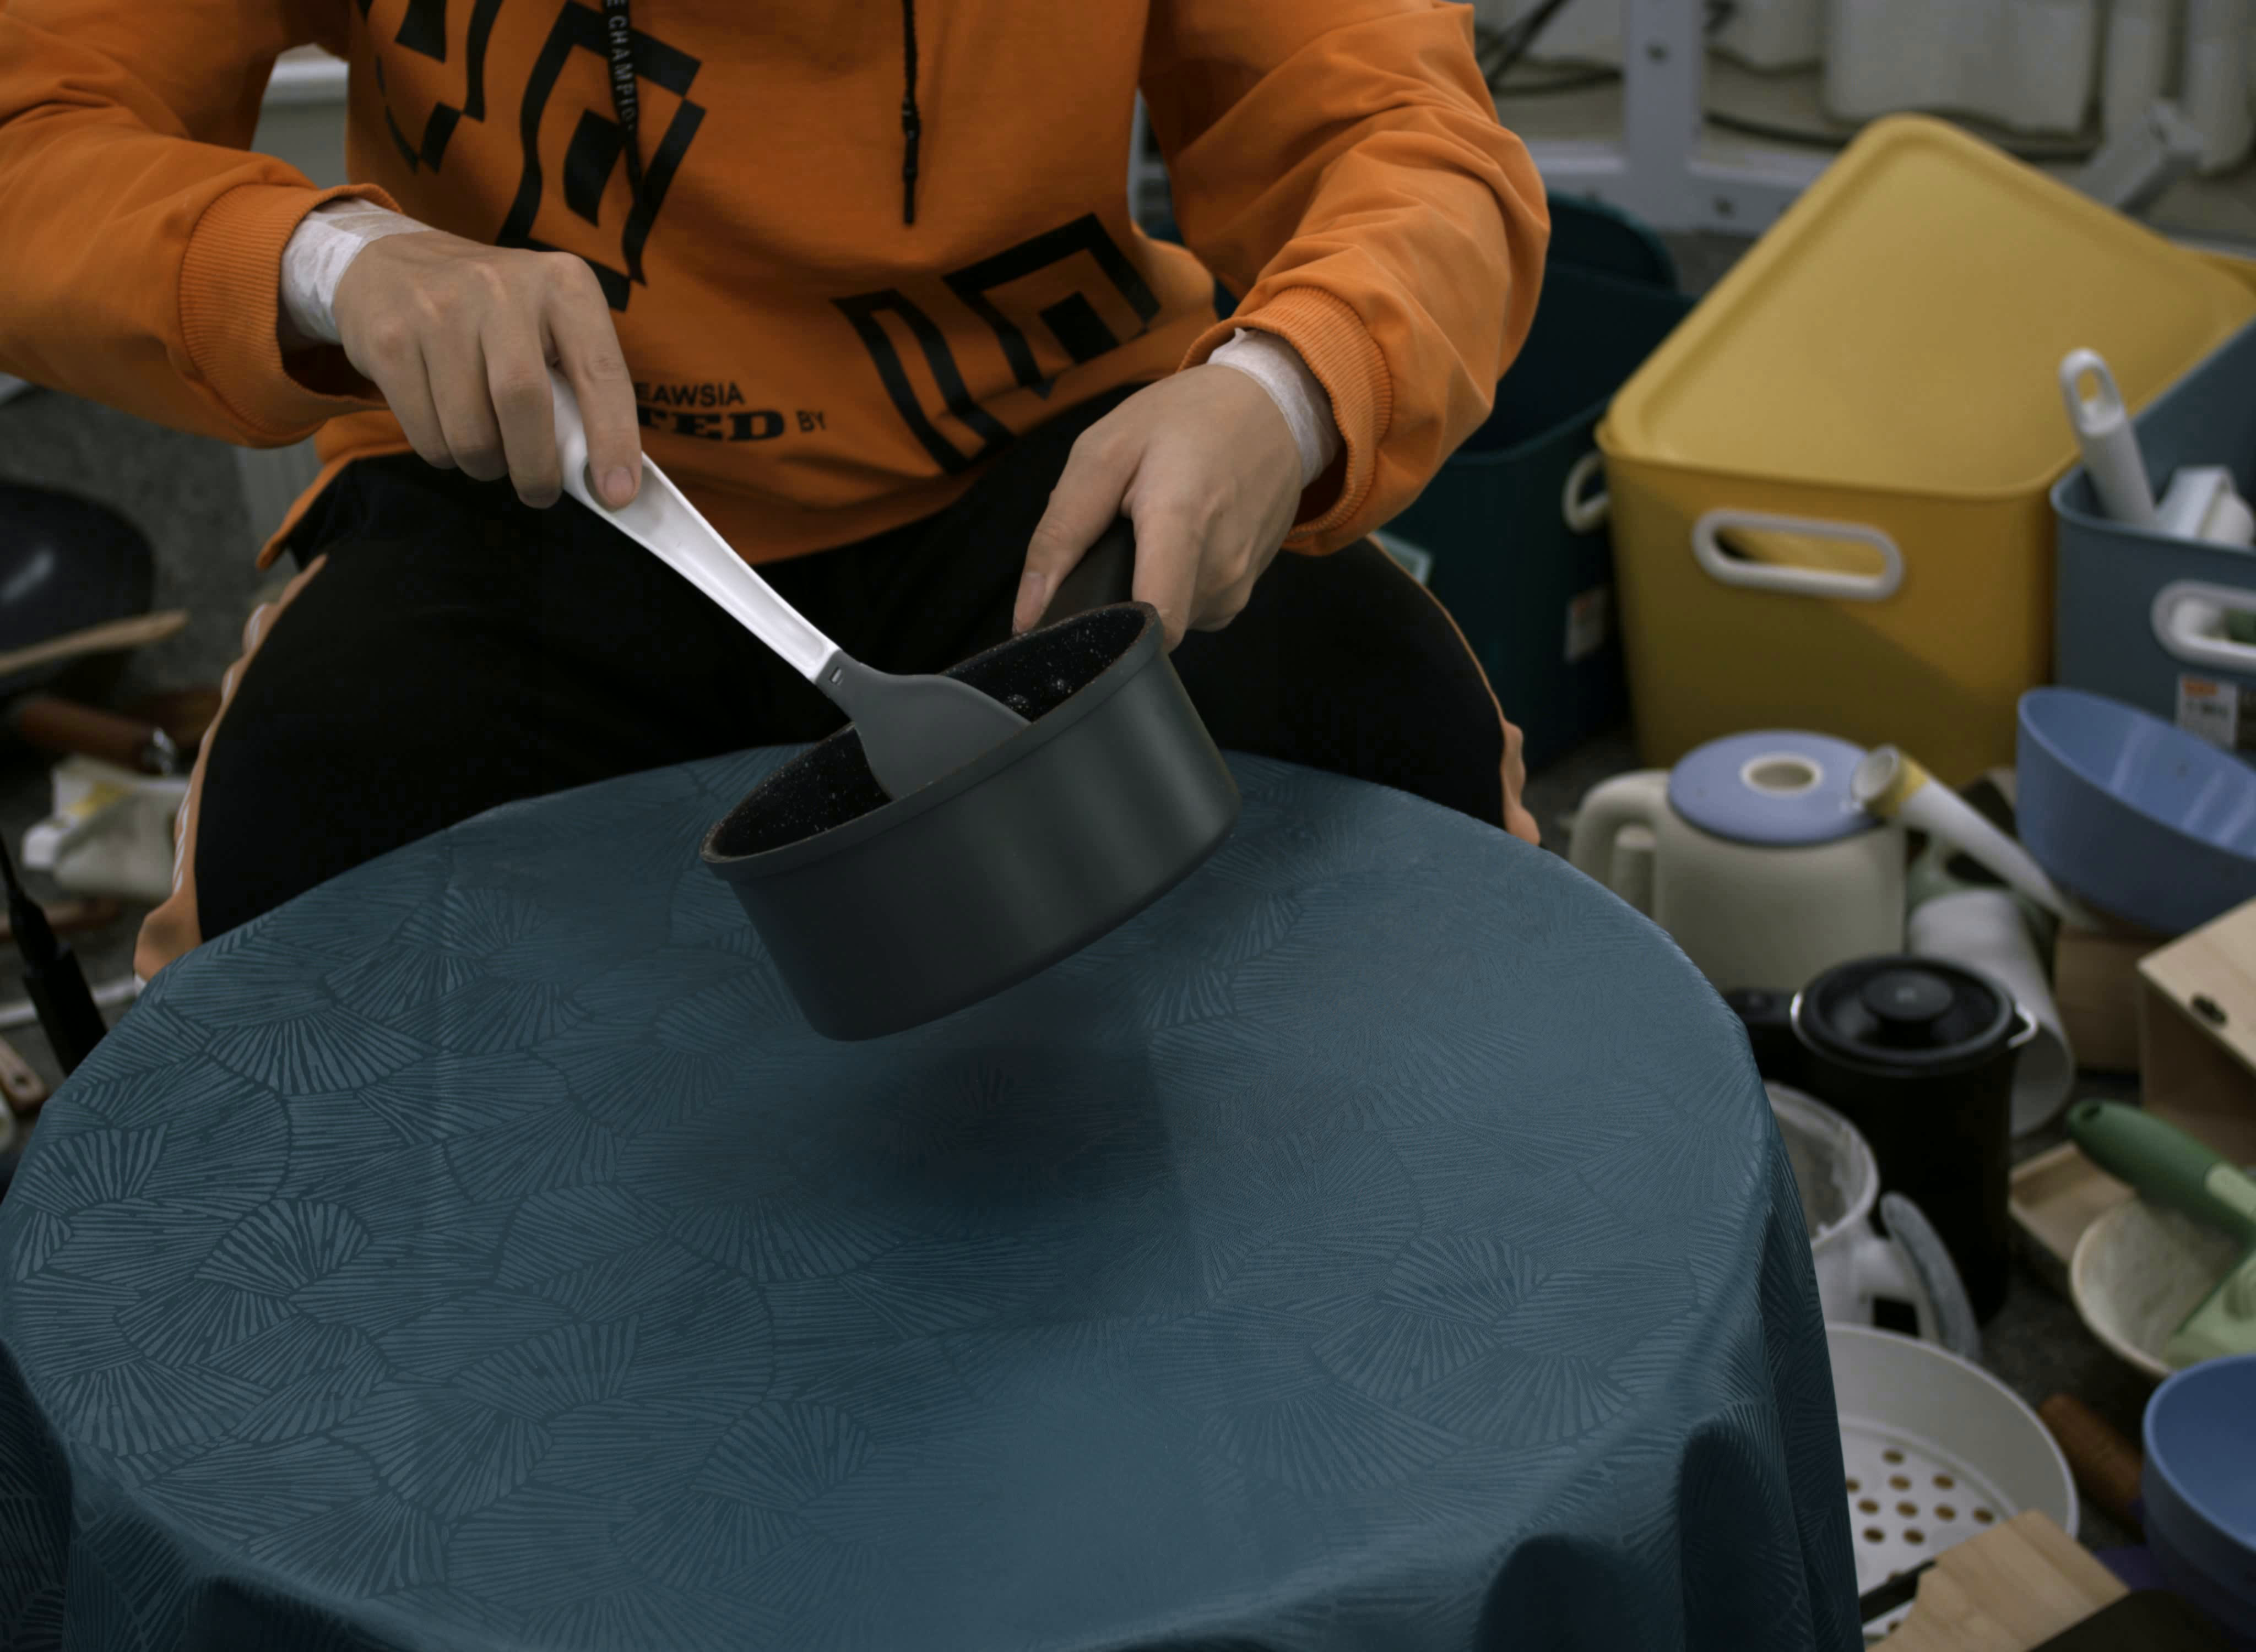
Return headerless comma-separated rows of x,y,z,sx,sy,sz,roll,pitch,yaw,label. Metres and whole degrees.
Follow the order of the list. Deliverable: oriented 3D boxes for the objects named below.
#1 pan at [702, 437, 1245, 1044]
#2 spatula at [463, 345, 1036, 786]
-0.022,-0.035,1.927,0.170,0.086,0.334,-20,16,29,pan
-0.119,-0.075,1.933,0.288,0.058,0.032,38,4,23,spatula
